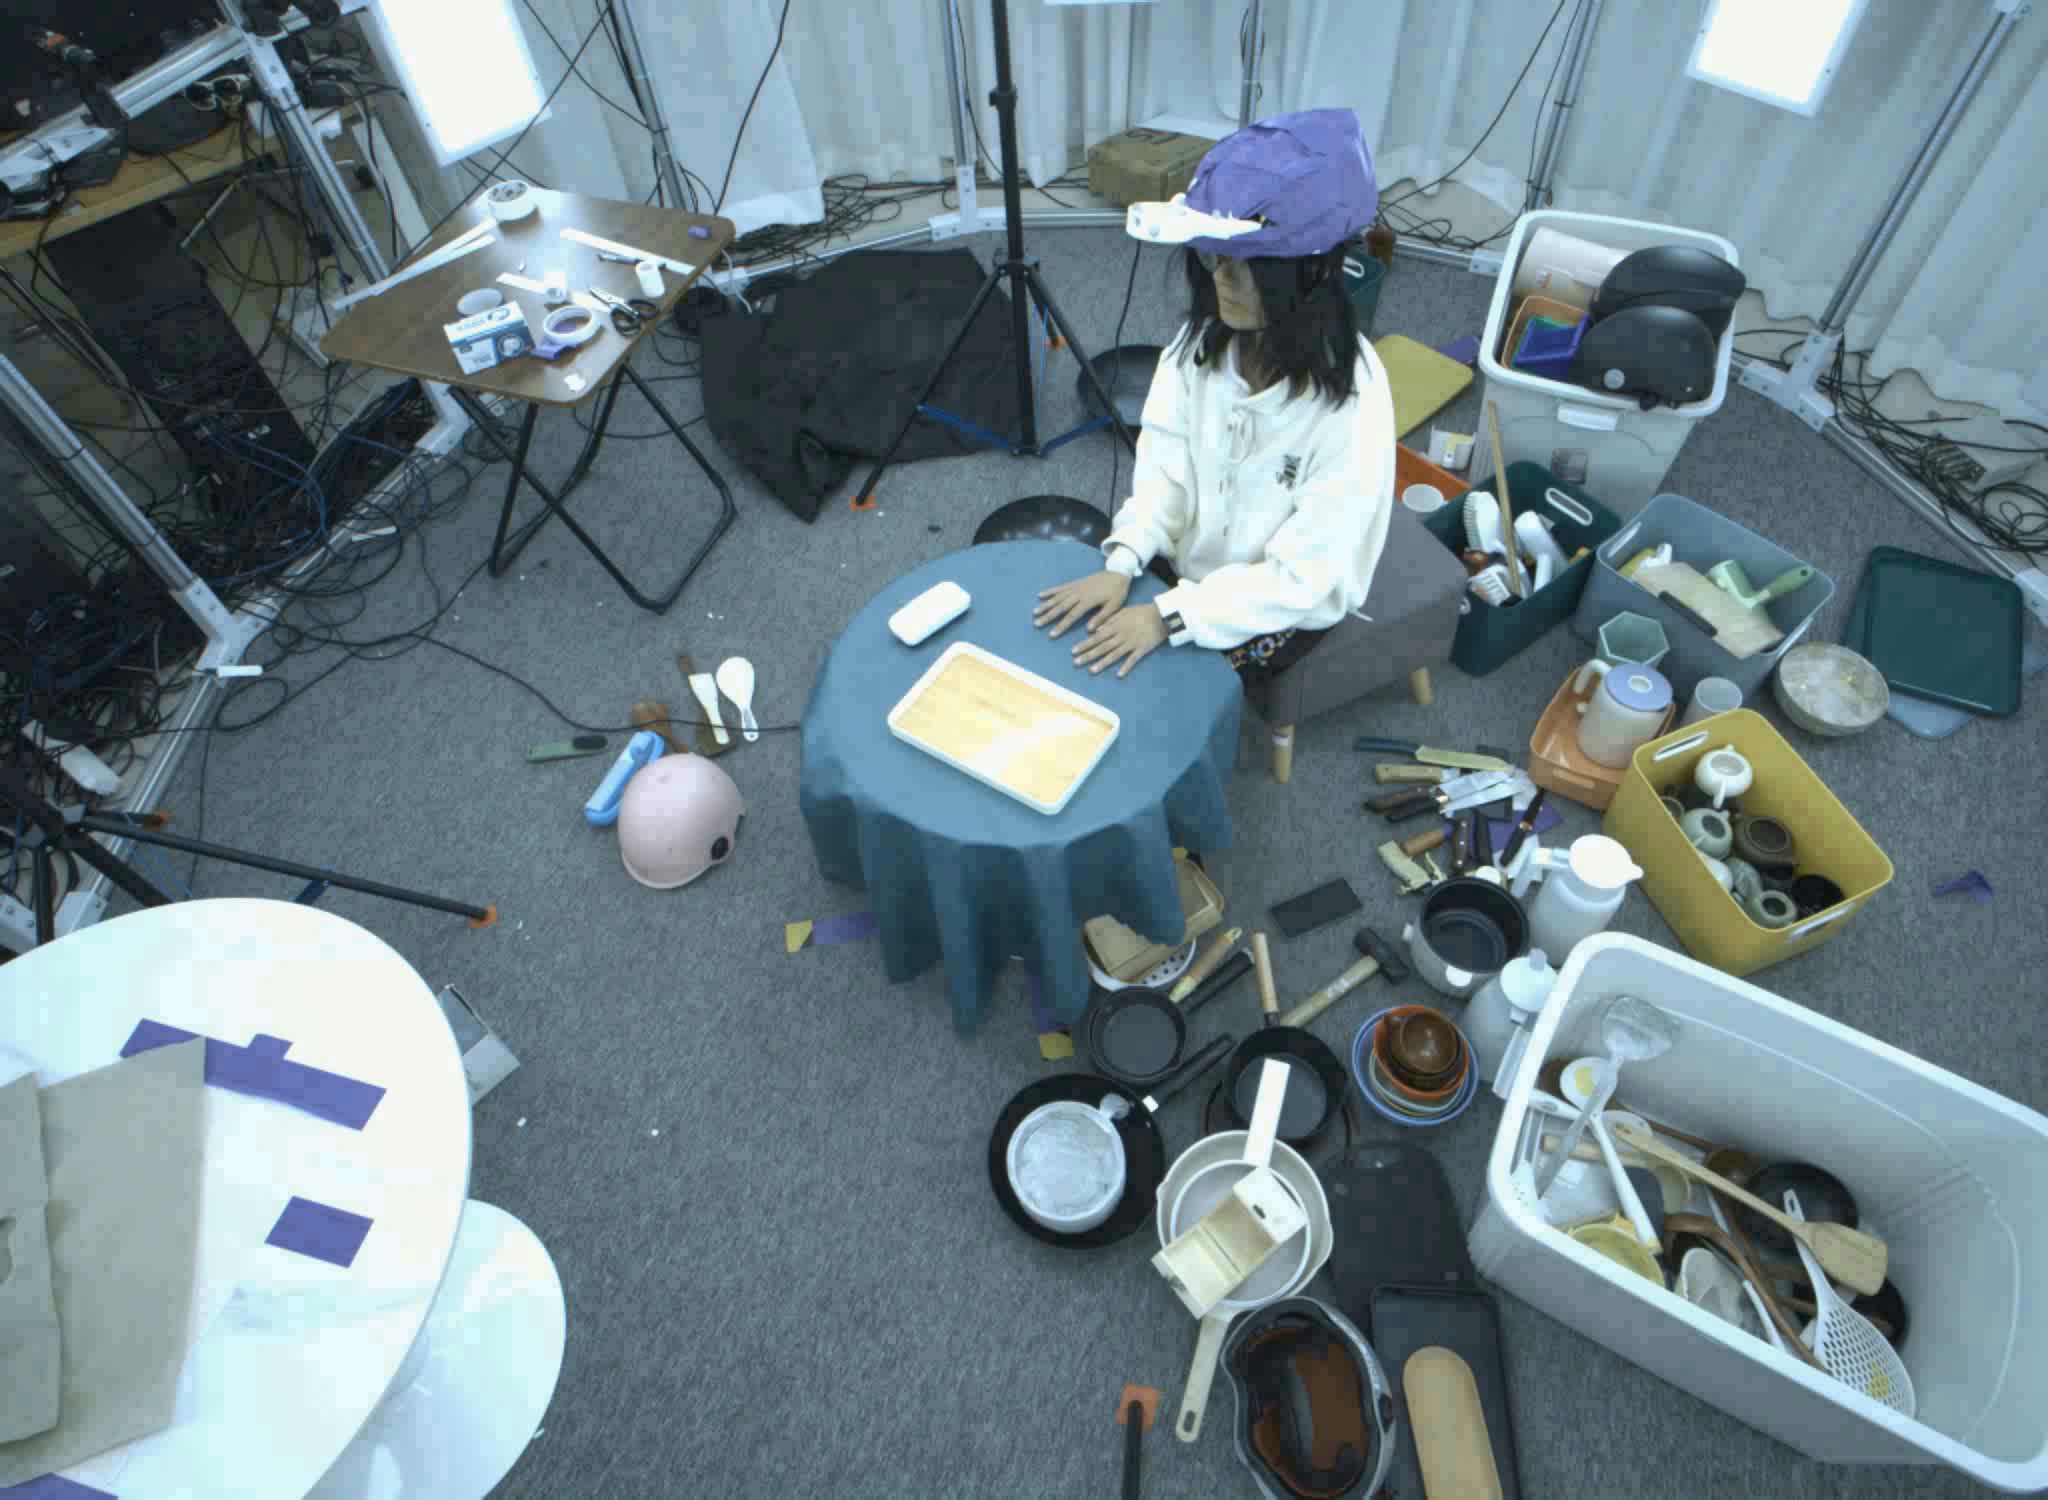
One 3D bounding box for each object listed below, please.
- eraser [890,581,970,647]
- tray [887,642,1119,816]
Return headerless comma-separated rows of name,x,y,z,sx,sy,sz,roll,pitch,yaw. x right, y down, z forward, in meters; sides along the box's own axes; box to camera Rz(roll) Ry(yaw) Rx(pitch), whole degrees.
eraser,-0.146,-0.215,1.925,0.132,0.035,0.062,-37,60,-21
tray,-0.032,-0.036,1.798,0.296,0.028,0.192,27,61,20
